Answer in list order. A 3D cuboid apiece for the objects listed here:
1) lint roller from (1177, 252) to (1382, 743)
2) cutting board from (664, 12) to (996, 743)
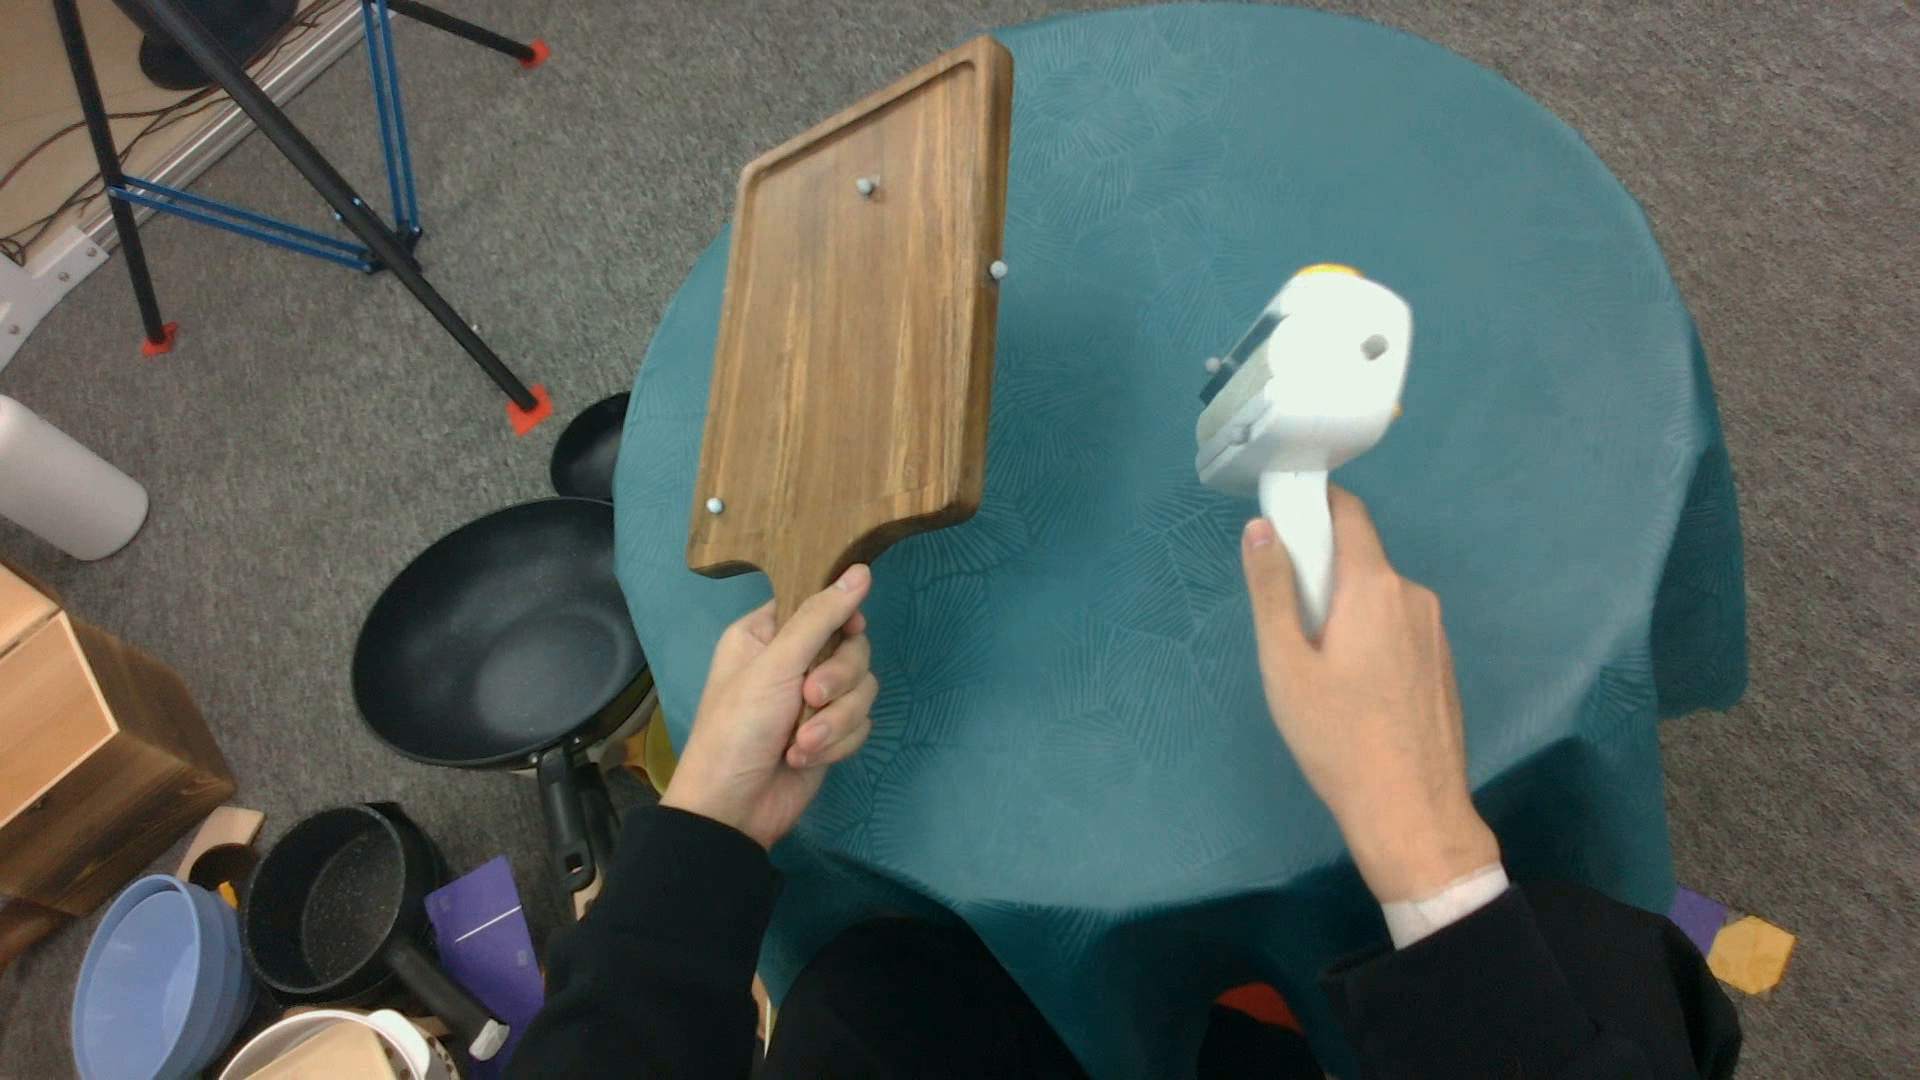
[{"bbox_3d":[0.136,-0.010,0.581,0.074,0.193,0.192,-1,89,-3],"label":"lint roller"},{"bbox_3d":[-0.071,-0.076,0.677,0.200,0.023,0.353,-12,65,40],"label":"cutting board"}]
